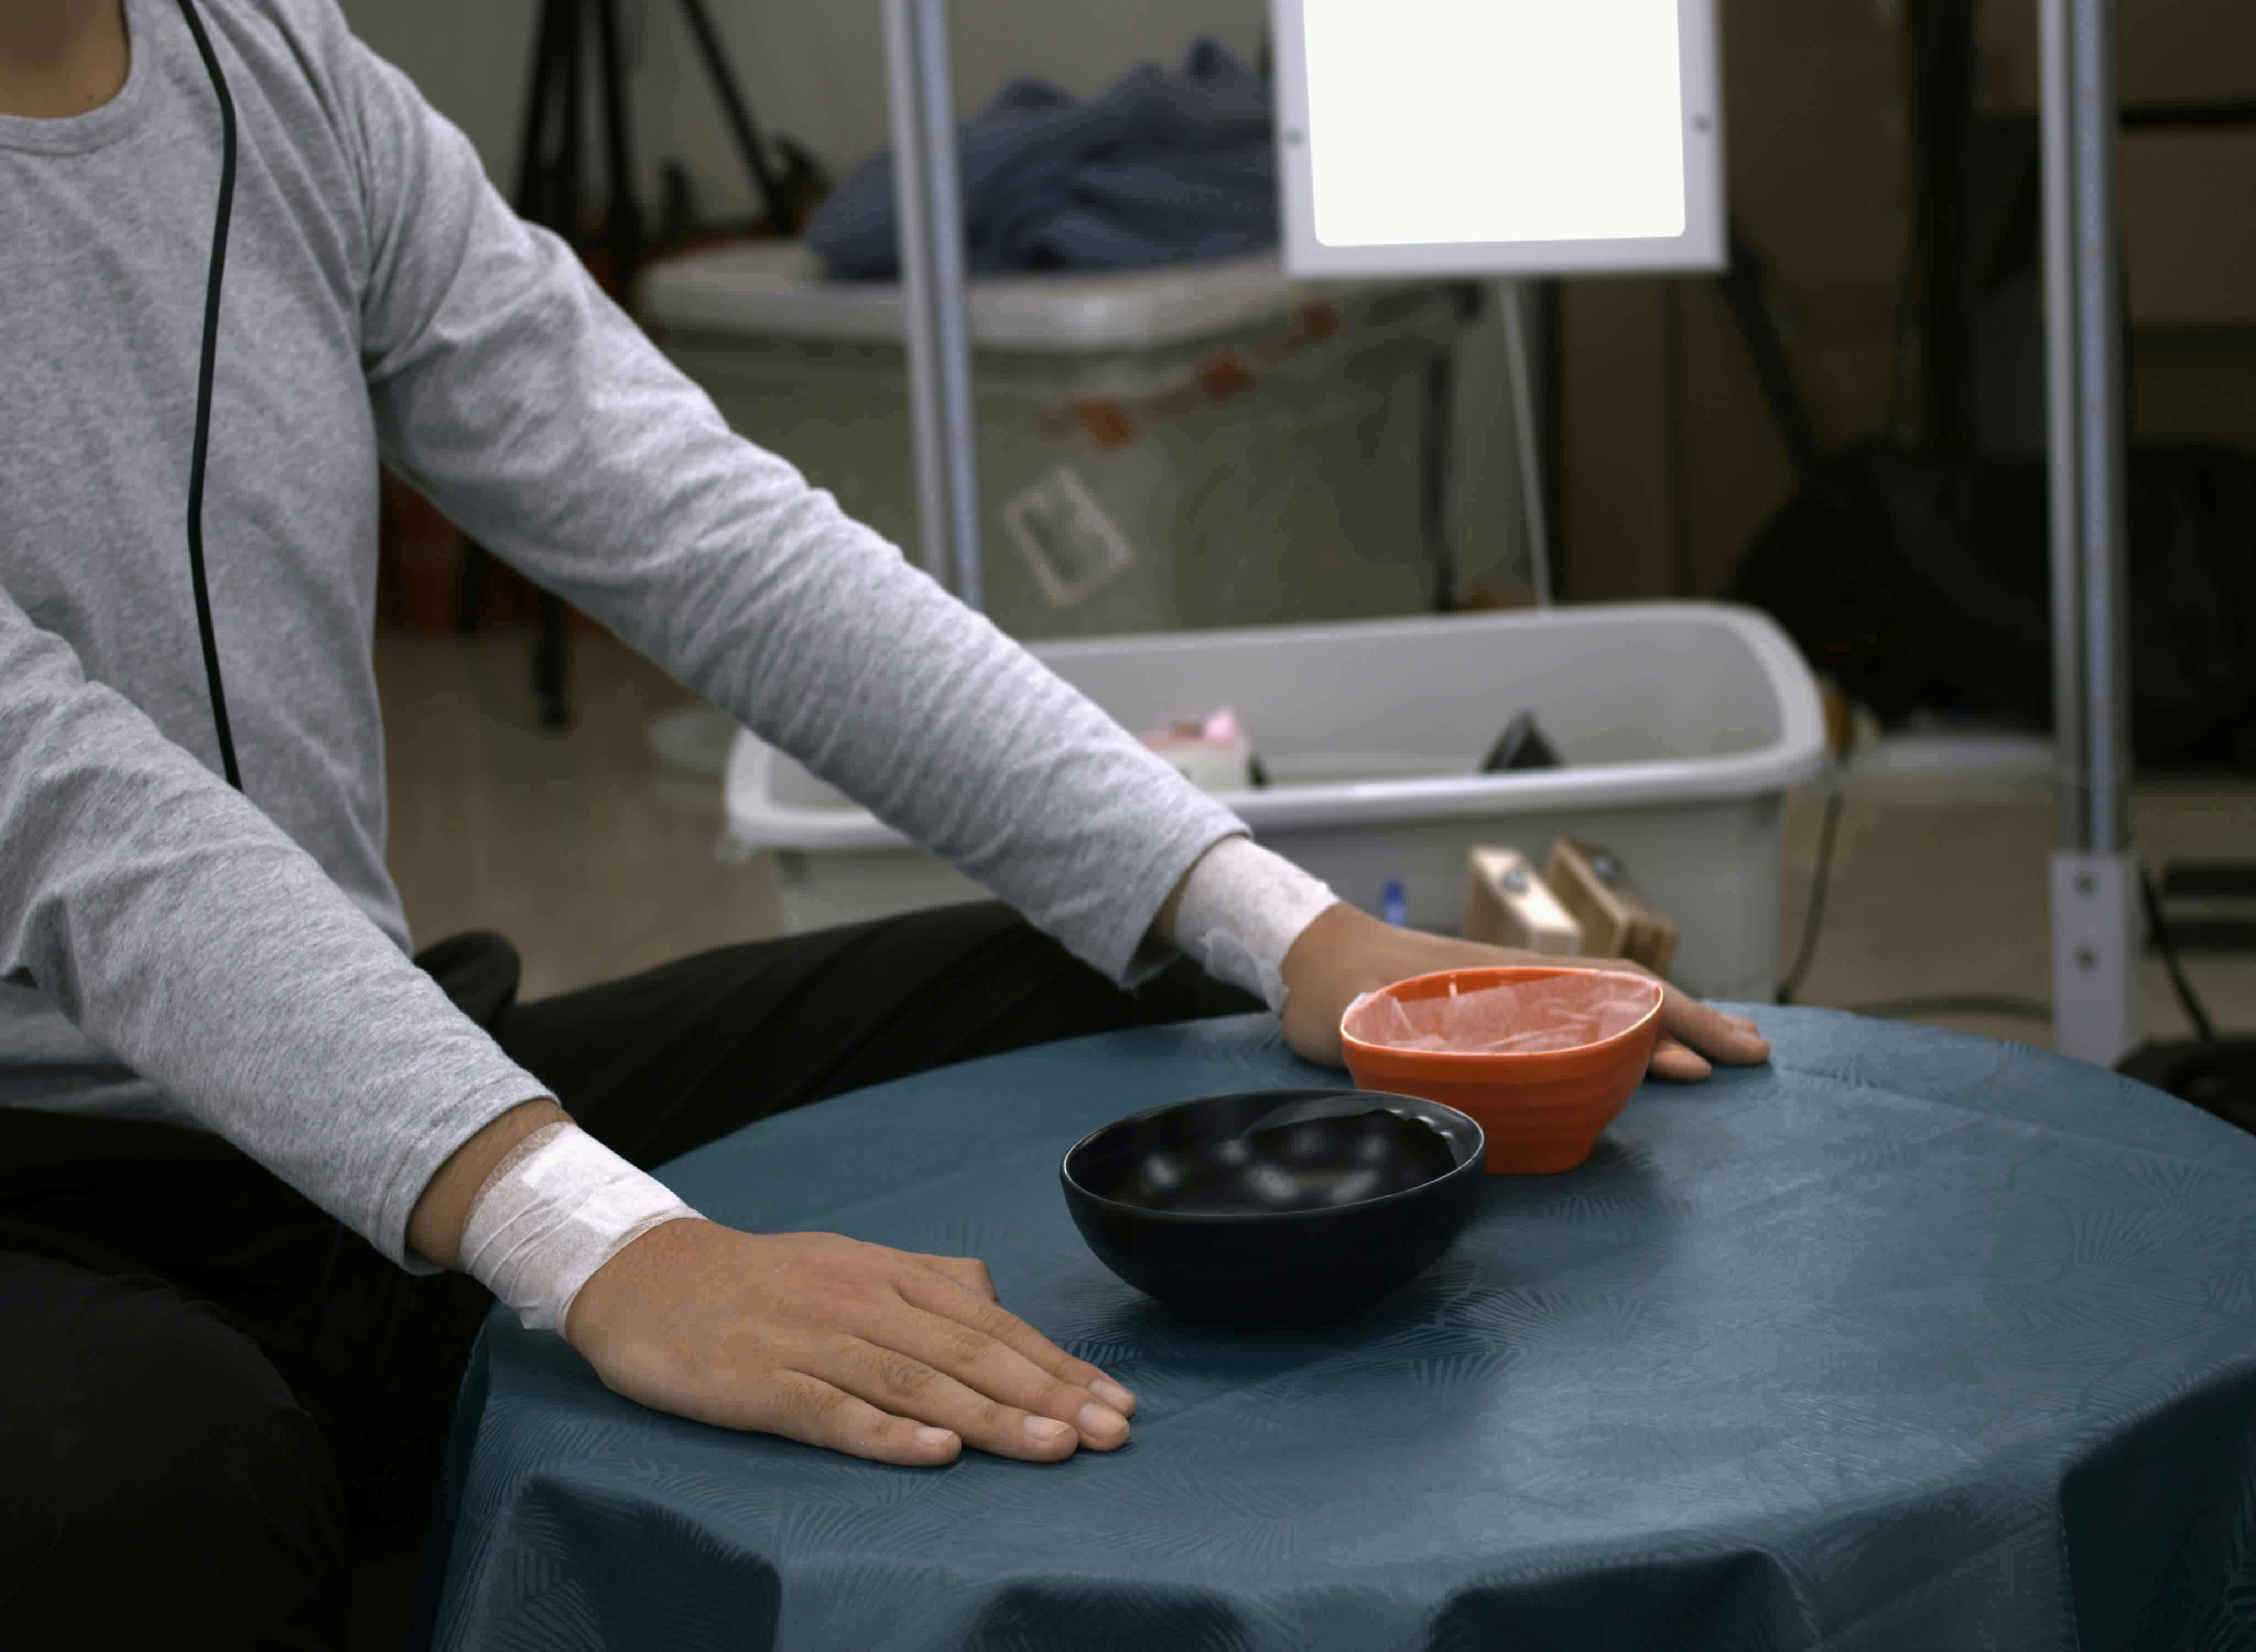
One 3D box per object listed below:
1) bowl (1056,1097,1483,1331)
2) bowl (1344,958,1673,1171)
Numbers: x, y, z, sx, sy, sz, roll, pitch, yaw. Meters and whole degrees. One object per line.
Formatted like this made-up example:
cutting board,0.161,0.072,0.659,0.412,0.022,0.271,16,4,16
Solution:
bowl,0.048,0.129,1.778,0.140,0.050,0.140,-7,11,0
bowl,0.134,0.085,1.911,0.118,0.051,0.119,-4,15,0
